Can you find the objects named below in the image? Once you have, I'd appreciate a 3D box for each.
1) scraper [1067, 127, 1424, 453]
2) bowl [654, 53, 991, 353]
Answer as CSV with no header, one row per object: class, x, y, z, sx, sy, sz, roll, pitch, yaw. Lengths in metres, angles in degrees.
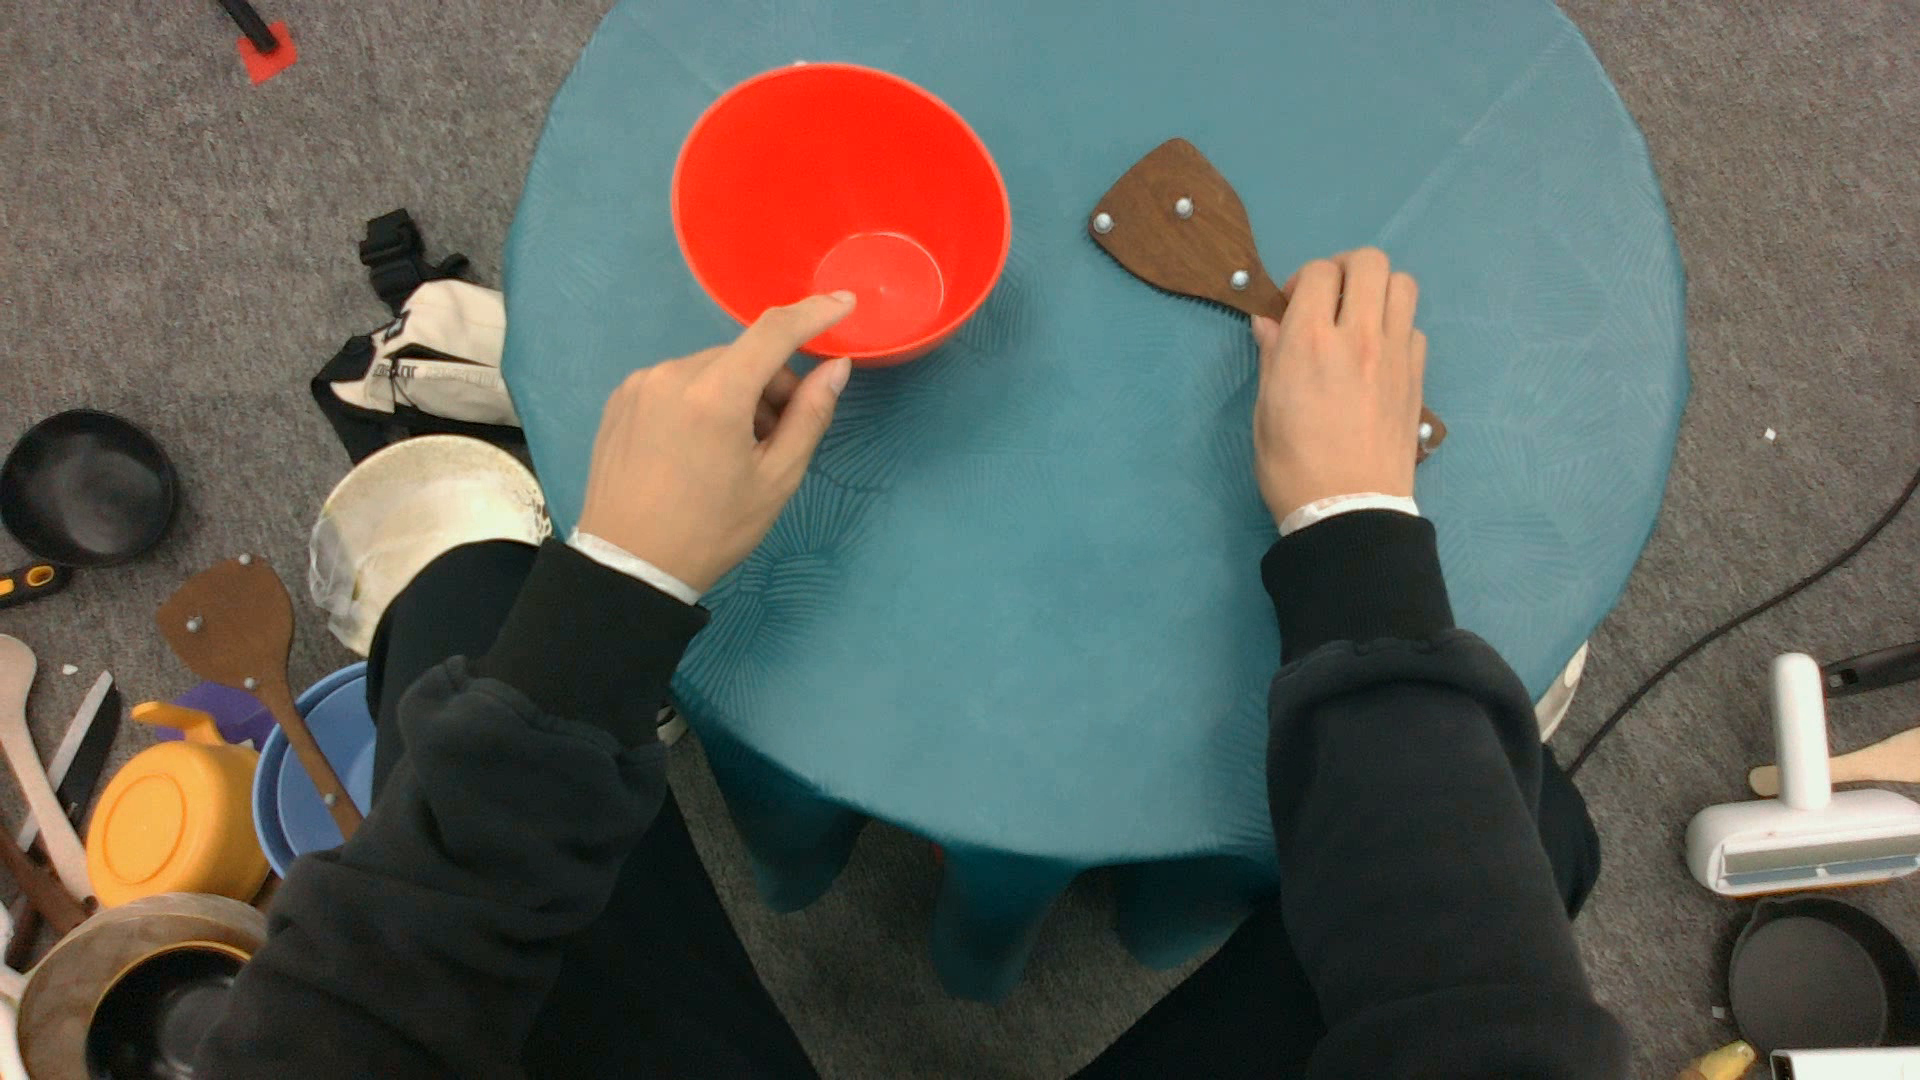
scraper,0.148,-0.122,0.694,0.076,0.011,0.211,-43,78,-8
bowl,-0.061,-0.144,0.652,0.148,0.104,0.148,0,74,-1
